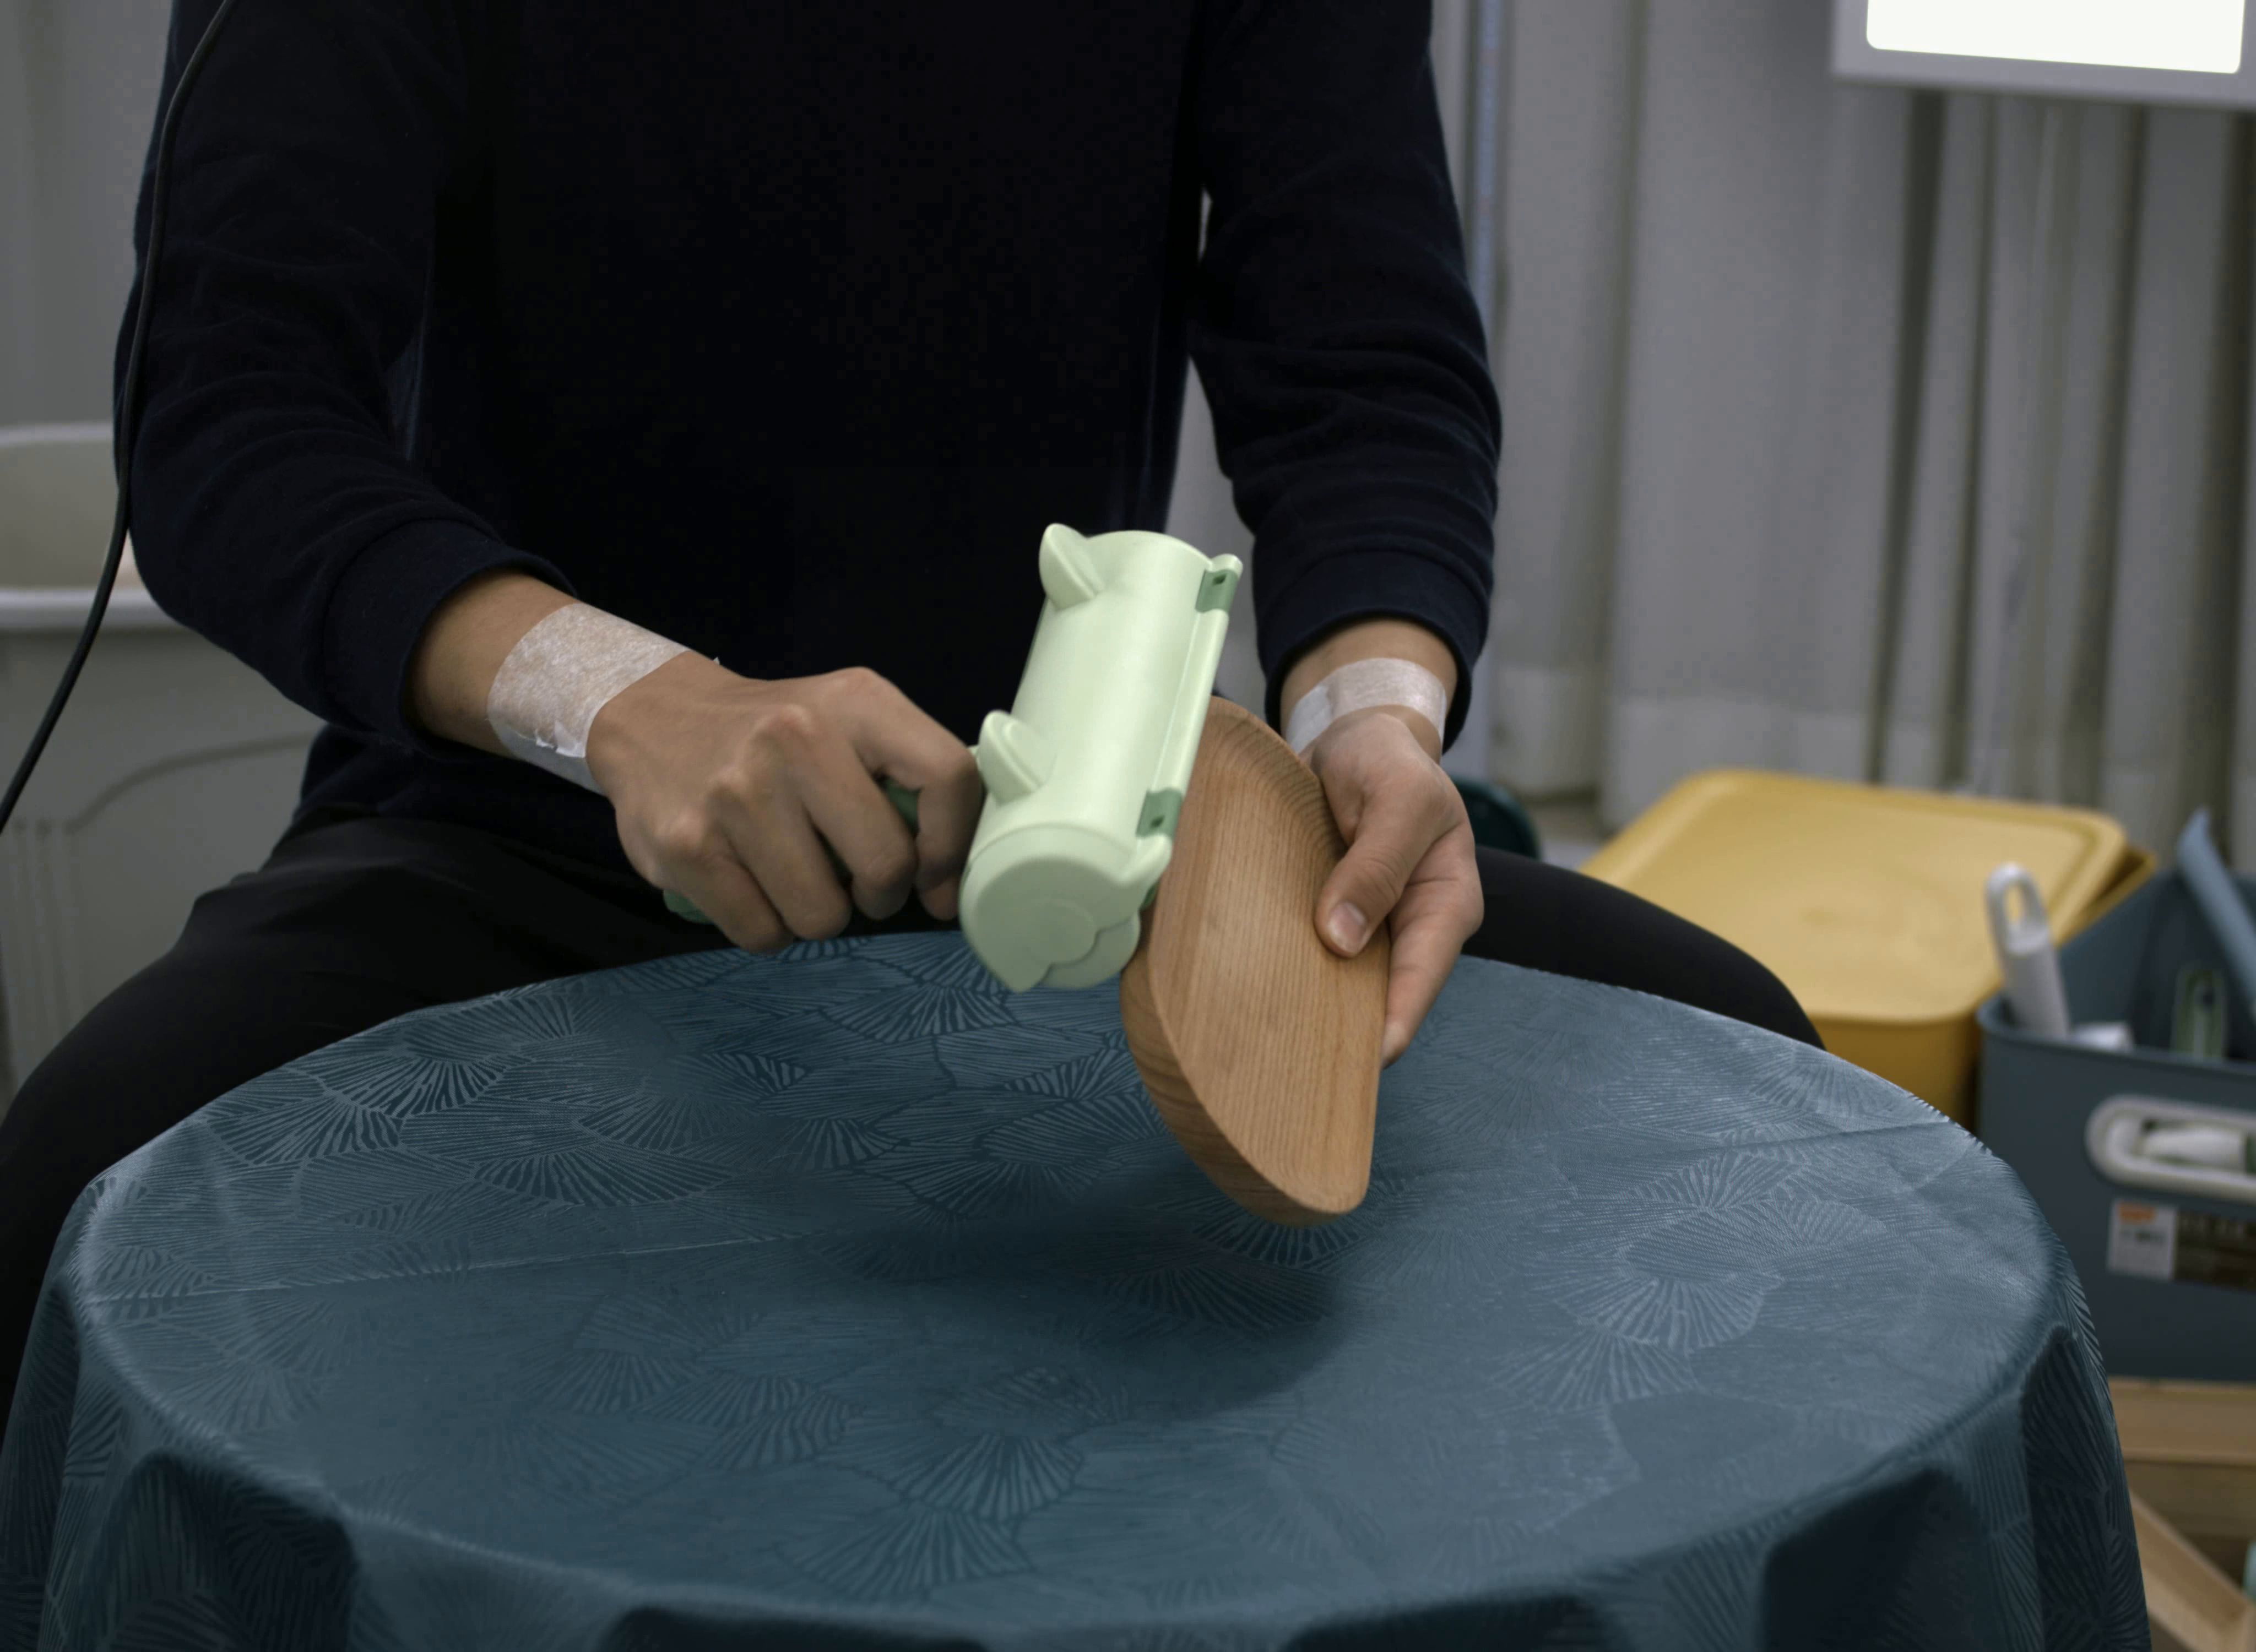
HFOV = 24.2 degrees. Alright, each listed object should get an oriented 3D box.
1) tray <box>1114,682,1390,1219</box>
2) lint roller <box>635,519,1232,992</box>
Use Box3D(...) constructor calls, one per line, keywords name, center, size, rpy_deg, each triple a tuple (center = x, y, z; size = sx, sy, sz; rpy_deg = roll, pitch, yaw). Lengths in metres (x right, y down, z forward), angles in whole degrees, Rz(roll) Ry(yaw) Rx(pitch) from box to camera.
Box3D(name="tray", center=(0.038, 0.035, 1.569), size=(0.020, 0.102, 0.229), rpy_deg=(-34, 22, 21))
Box3D(name="lint roller", center=(-0.067, -0.022, 1.568), size=(0.182, 0.083, 0.197), rpy_deg=(-6, 30, 12))
